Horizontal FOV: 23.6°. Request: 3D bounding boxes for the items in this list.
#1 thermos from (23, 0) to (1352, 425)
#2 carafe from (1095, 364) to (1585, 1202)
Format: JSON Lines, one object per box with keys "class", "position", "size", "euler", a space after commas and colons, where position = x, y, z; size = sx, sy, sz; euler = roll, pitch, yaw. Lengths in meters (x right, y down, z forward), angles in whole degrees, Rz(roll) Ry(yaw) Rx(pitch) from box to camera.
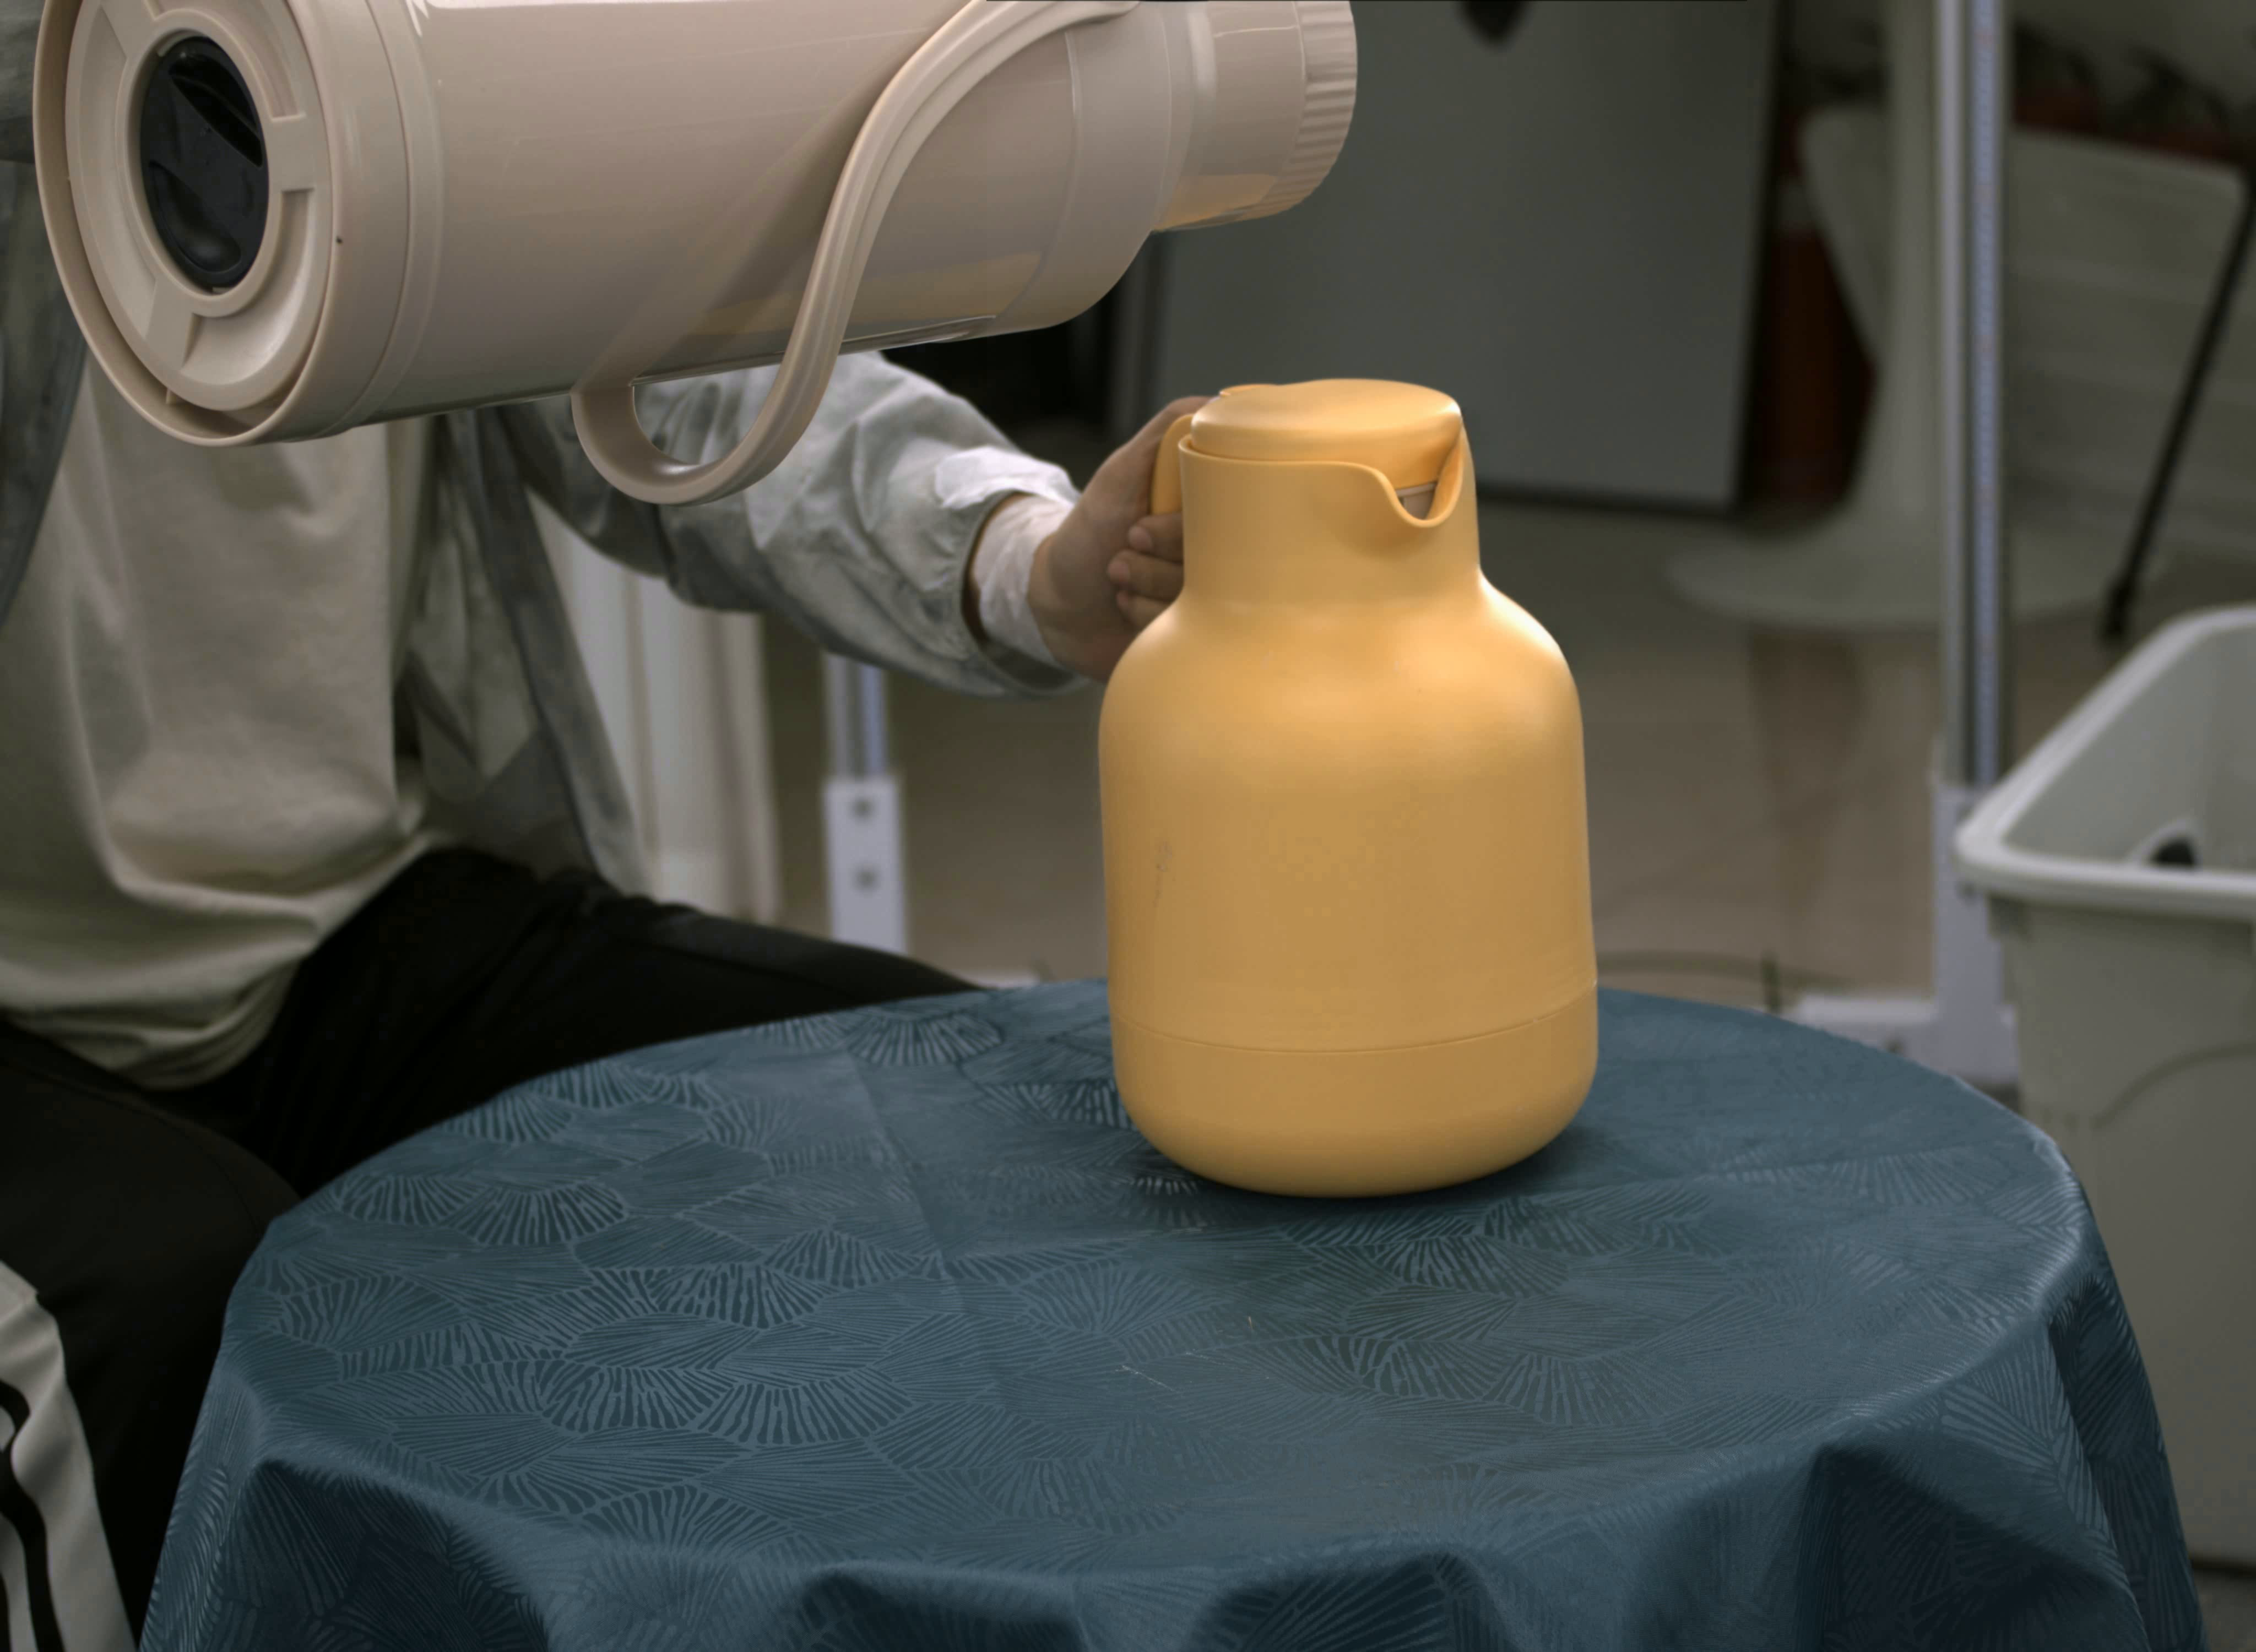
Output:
{"class": "thermos", "position": [-0.118, -0.233, 1.605], "size": [0.397, 0.209, 0.177], "euler": [-12, -11, -37]}
{"class": "carafe", "position": [0.063, -0.022, 1.788], "size": [0.160, 0.263, 0.204], "euler": [-6, 14, -20]}
